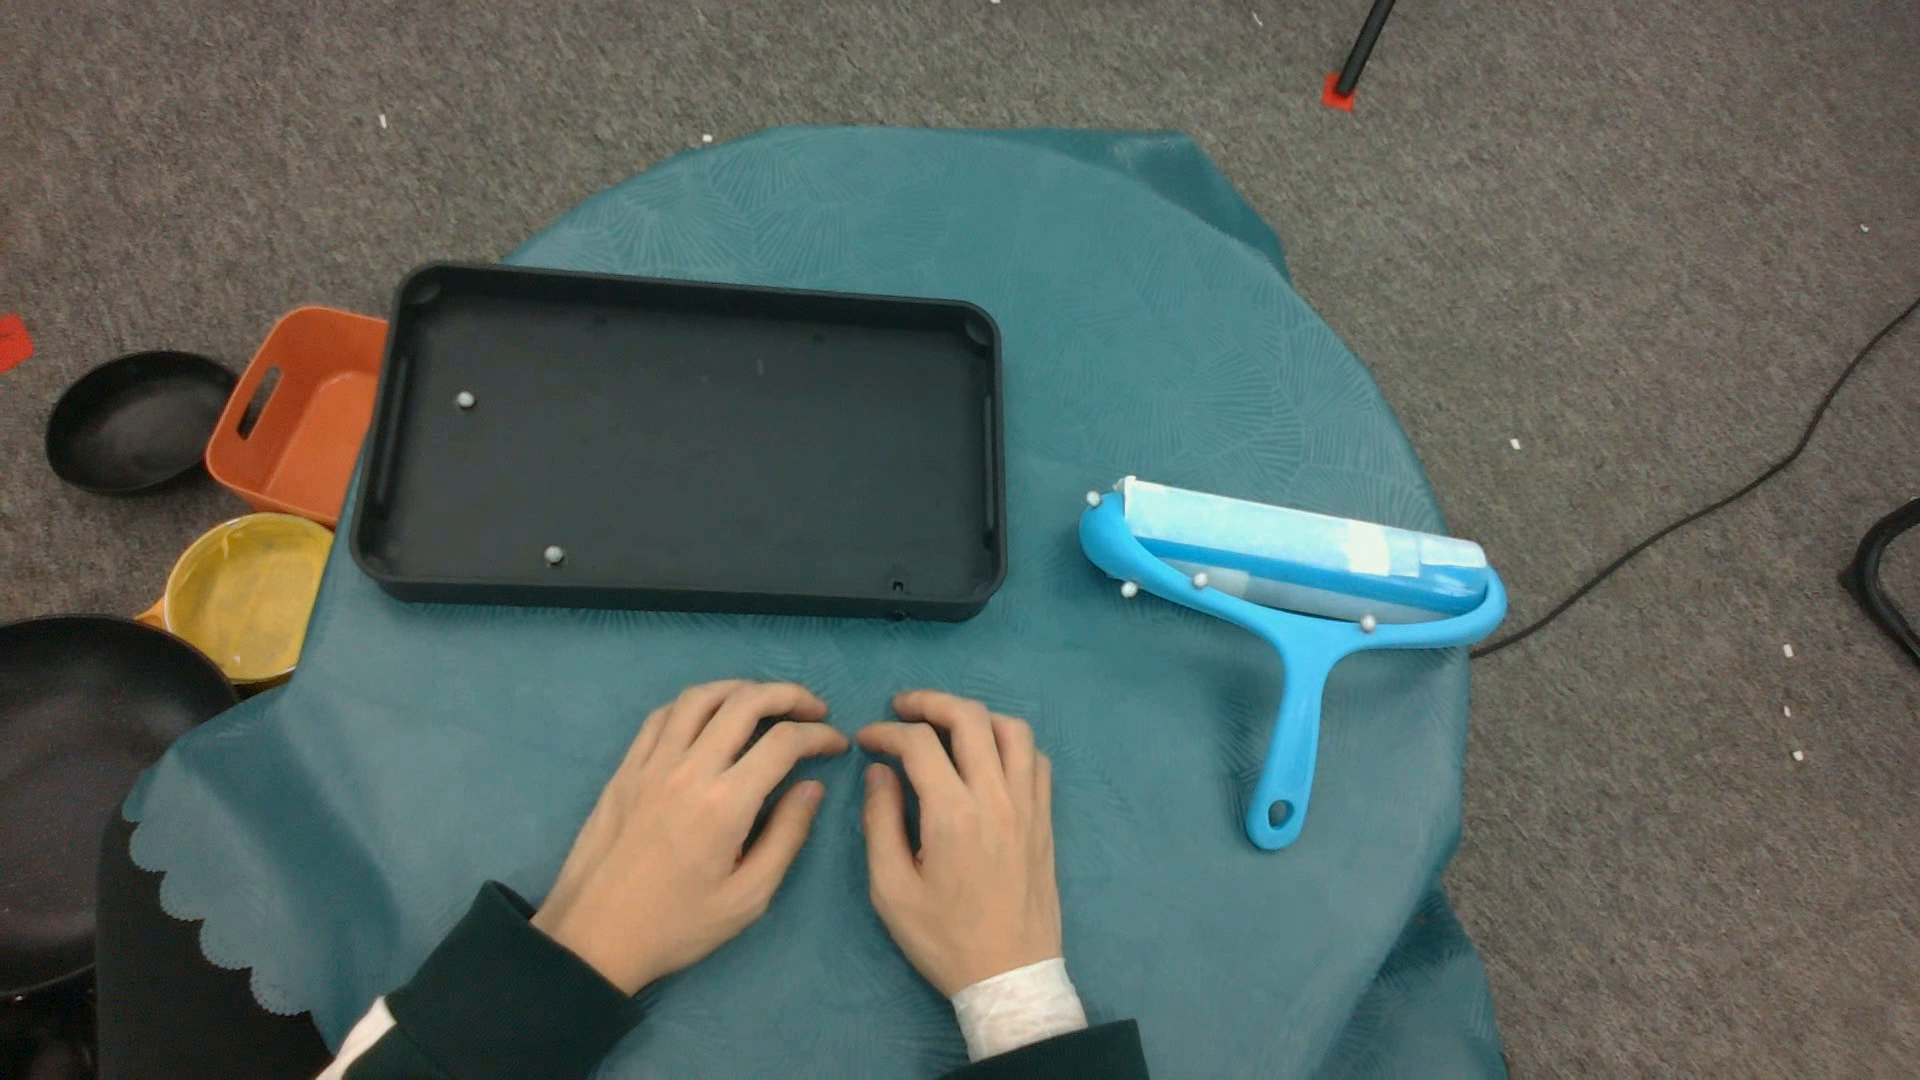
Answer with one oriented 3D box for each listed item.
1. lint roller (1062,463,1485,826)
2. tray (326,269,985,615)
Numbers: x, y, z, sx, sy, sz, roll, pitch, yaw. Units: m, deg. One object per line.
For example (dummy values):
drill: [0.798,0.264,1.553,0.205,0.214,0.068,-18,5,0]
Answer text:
lint roller: [0.165,0.052,0.710,0.229,0.067,0.181,7,63,-8]
tray: [-0.150,-0.051,0.720,0.318,0.037,0.185,0,66,-10]
